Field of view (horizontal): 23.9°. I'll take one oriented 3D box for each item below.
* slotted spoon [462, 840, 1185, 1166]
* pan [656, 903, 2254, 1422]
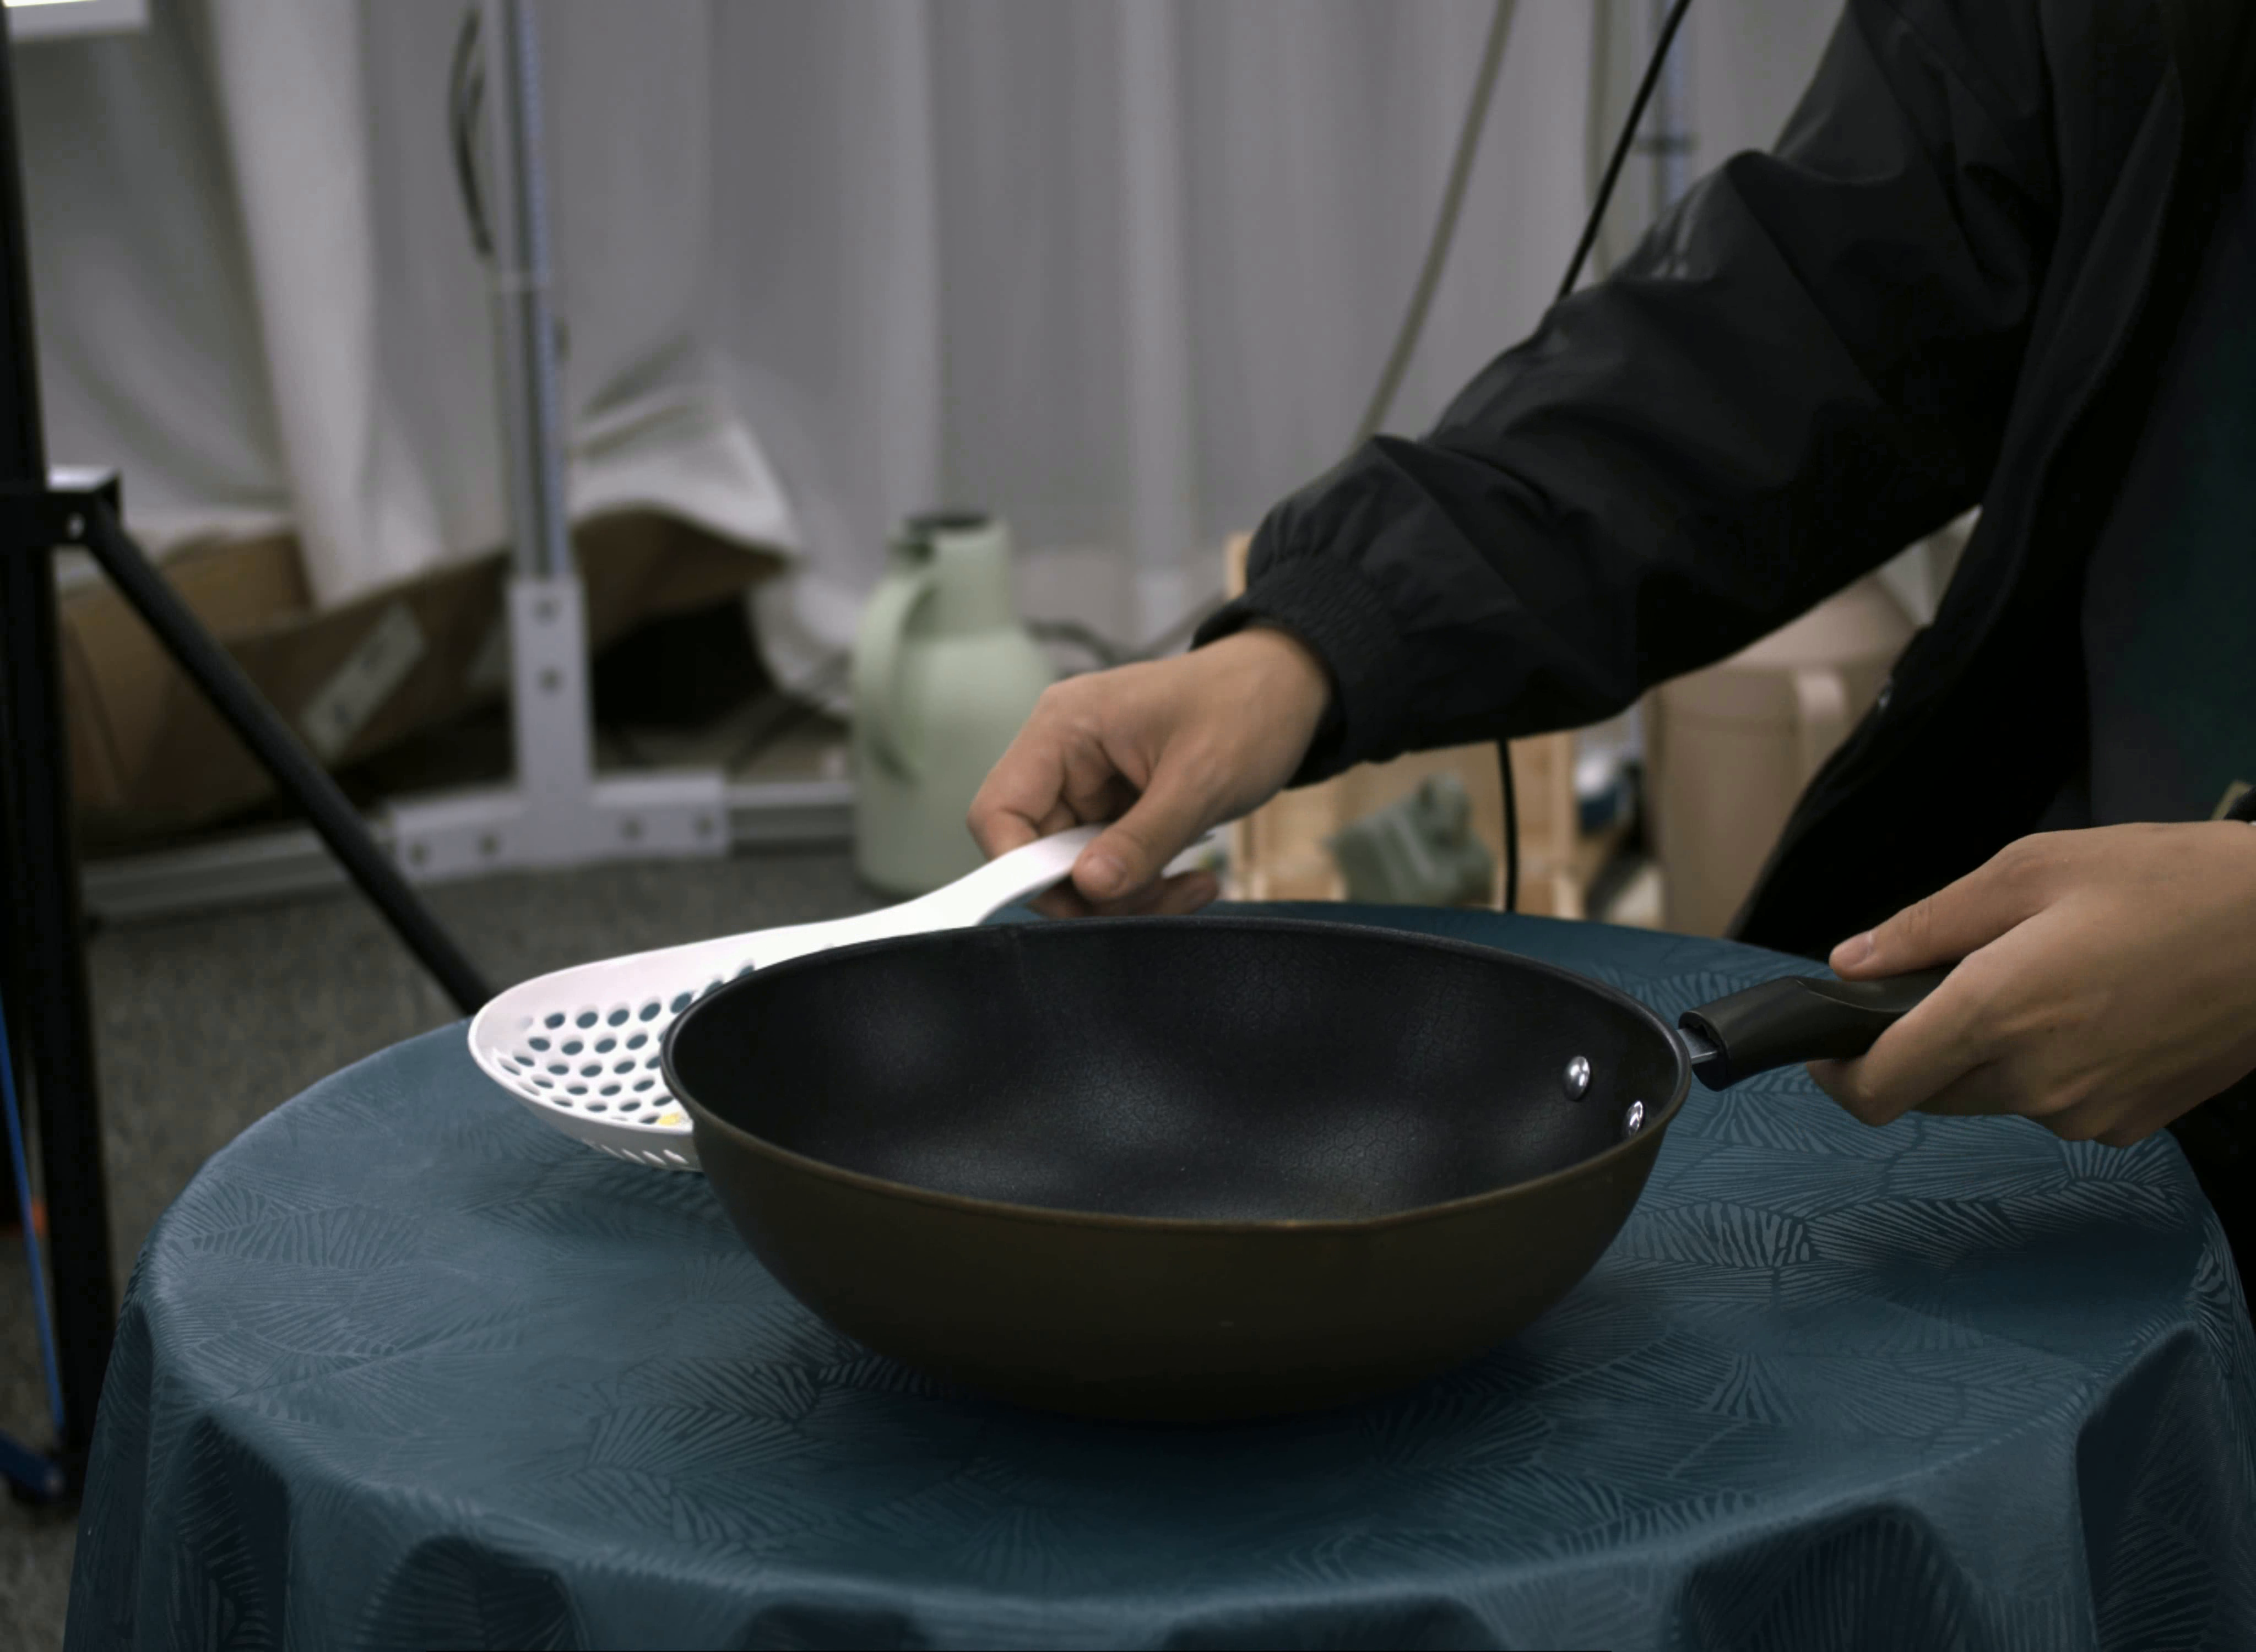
[{"bbox_3d":[-0.071,0.044,1.690,0.139,0.050,0.342,12,25,31],"label":"slotted spoon"},{"bbox_3d":[0.098,0.091,1.459,0.455,0.087,0.292,-3,15,-16],"label":"pan"}]
